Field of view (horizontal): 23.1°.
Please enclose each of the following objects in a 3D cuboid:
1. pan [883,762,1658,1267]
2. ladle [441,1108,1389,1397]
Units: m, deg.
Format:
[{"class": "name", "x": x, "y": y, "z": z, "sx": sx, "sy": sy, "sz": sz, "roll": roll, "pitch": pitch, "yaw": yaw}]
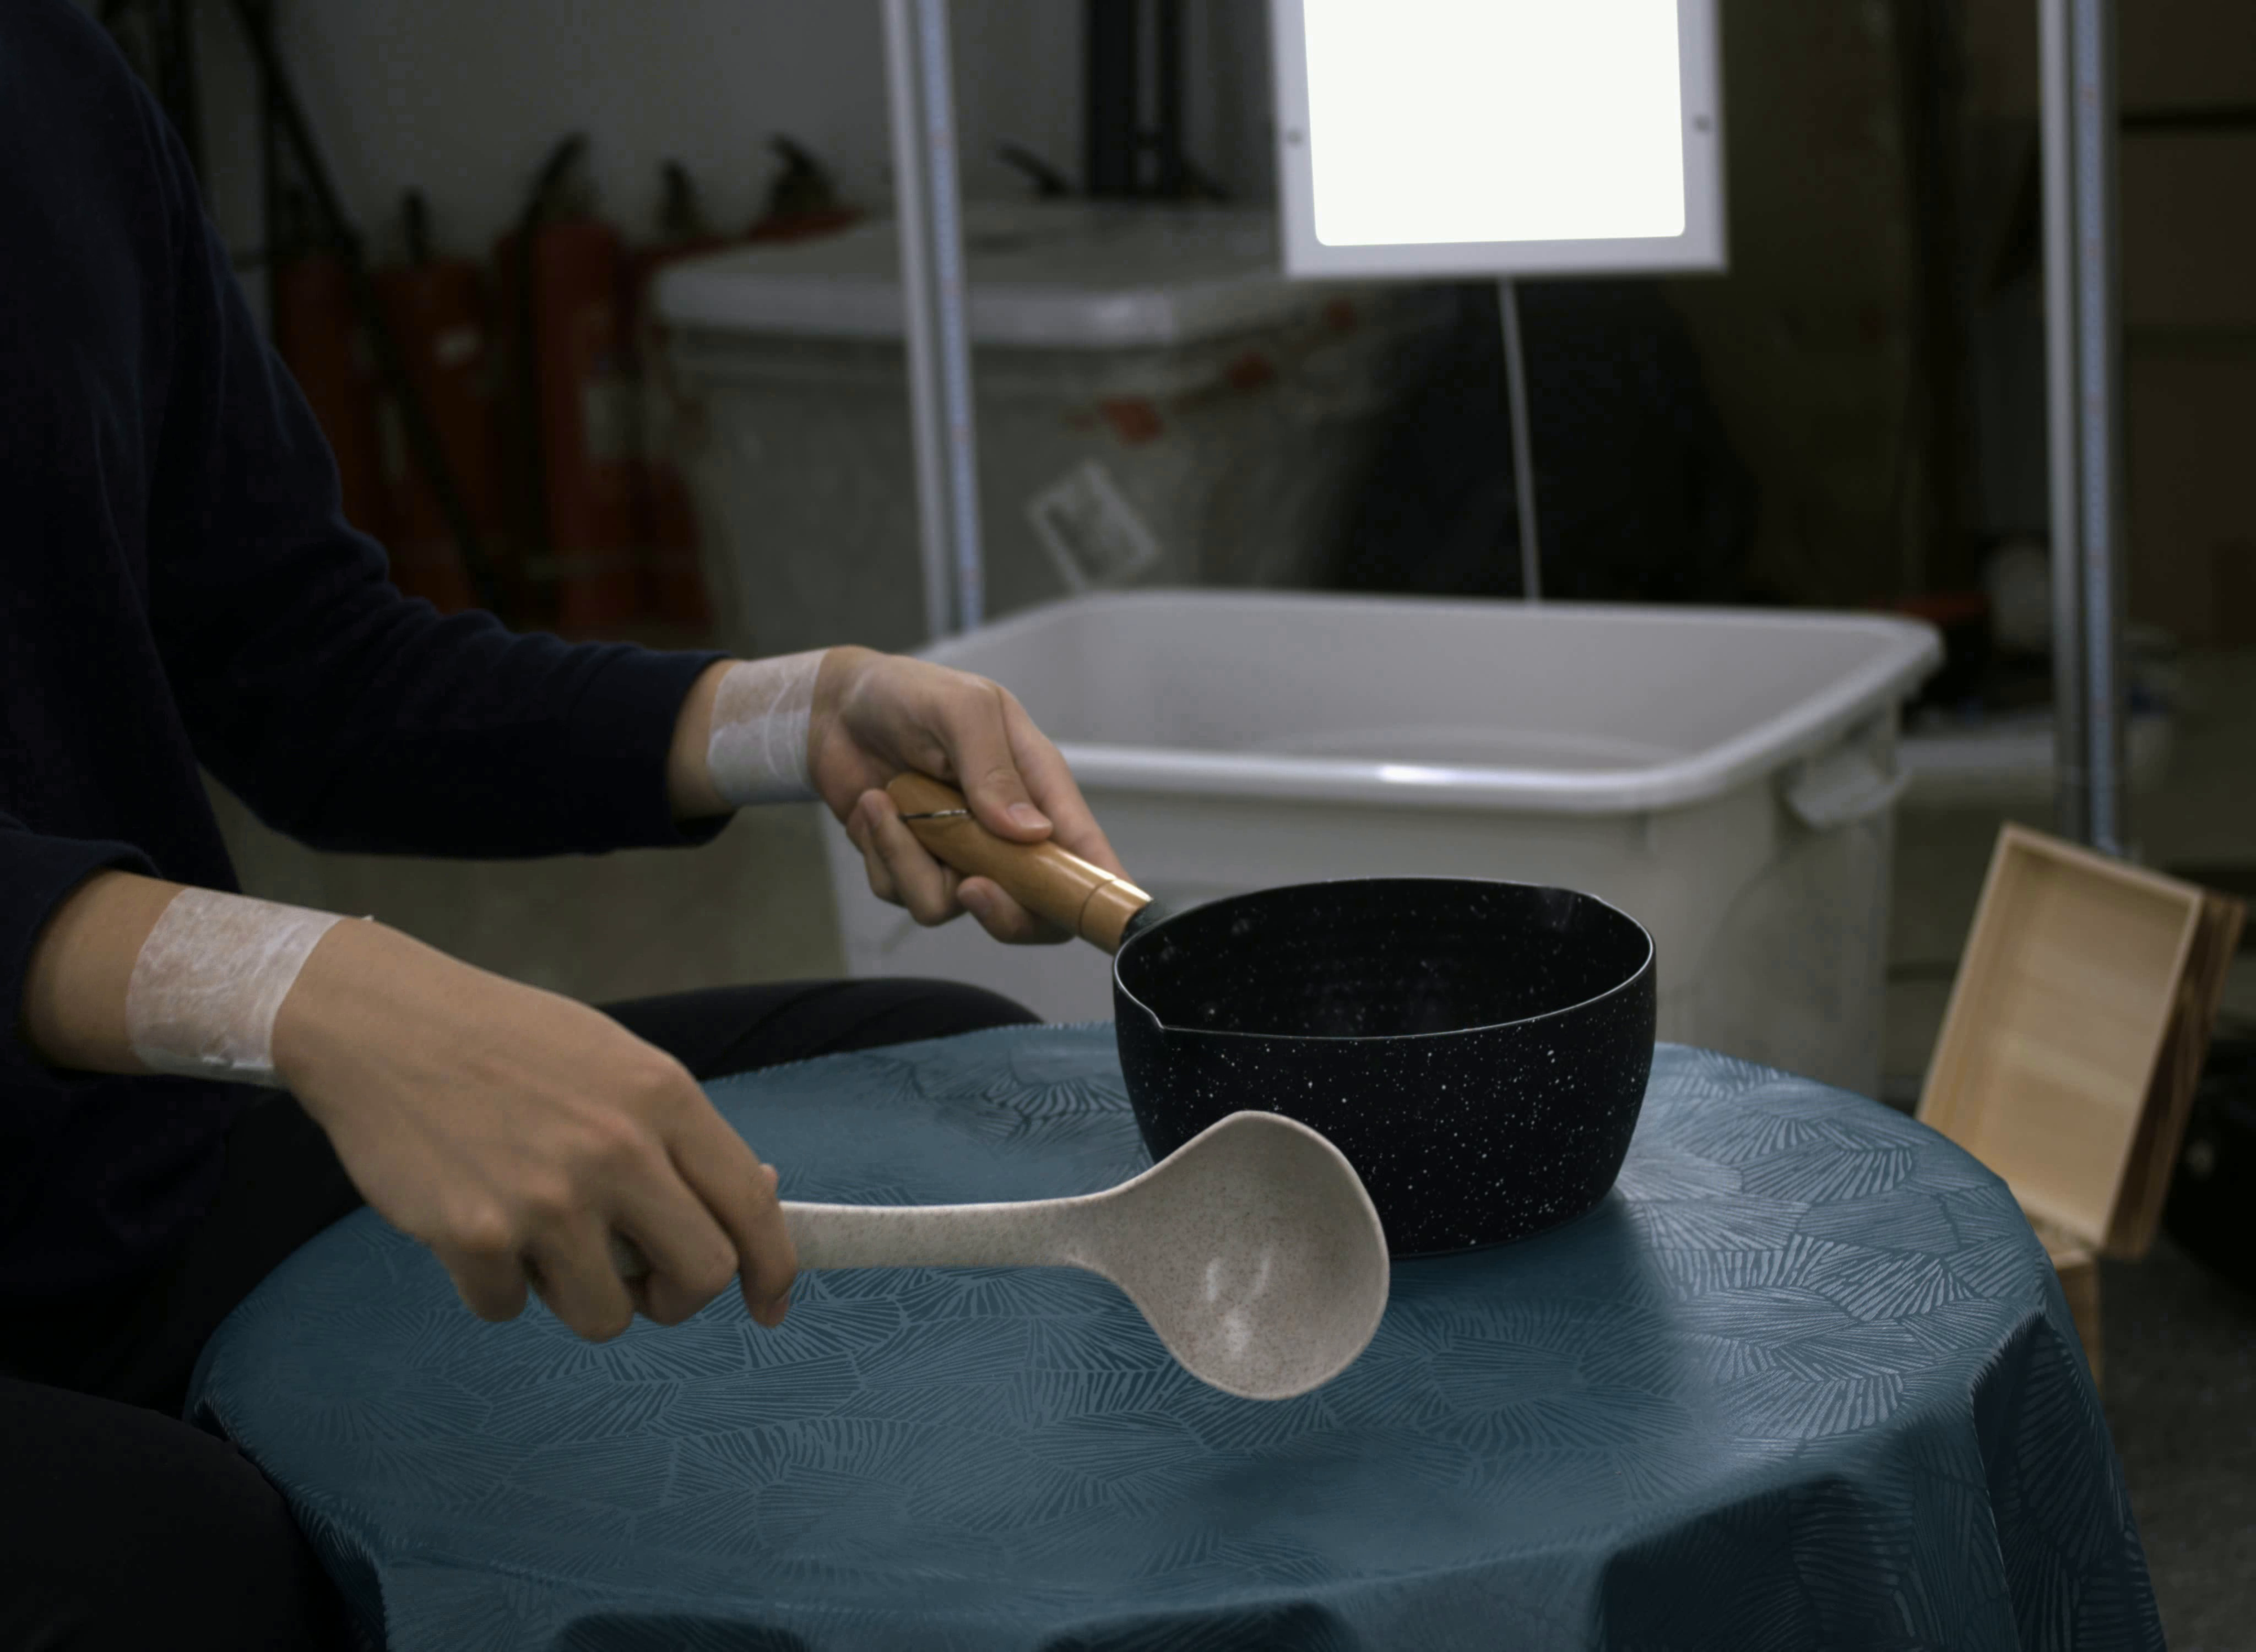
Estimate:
[{"class": "pan", "x": 0.032, "y": 0.059, "z": 1.914, "sx": 0.202, "sy": 0.108, "sz": 0.350, "roll": -19, "pitch": 23, "yaw": -40}, {"class": "ladle", "x": -0.056, "y": 0.124, "z": 1.570, "sx": 0.269, "sy": 0.090, "sz": 0.070, "roll": 1, "pitch": 25, "yaw": -26}]
